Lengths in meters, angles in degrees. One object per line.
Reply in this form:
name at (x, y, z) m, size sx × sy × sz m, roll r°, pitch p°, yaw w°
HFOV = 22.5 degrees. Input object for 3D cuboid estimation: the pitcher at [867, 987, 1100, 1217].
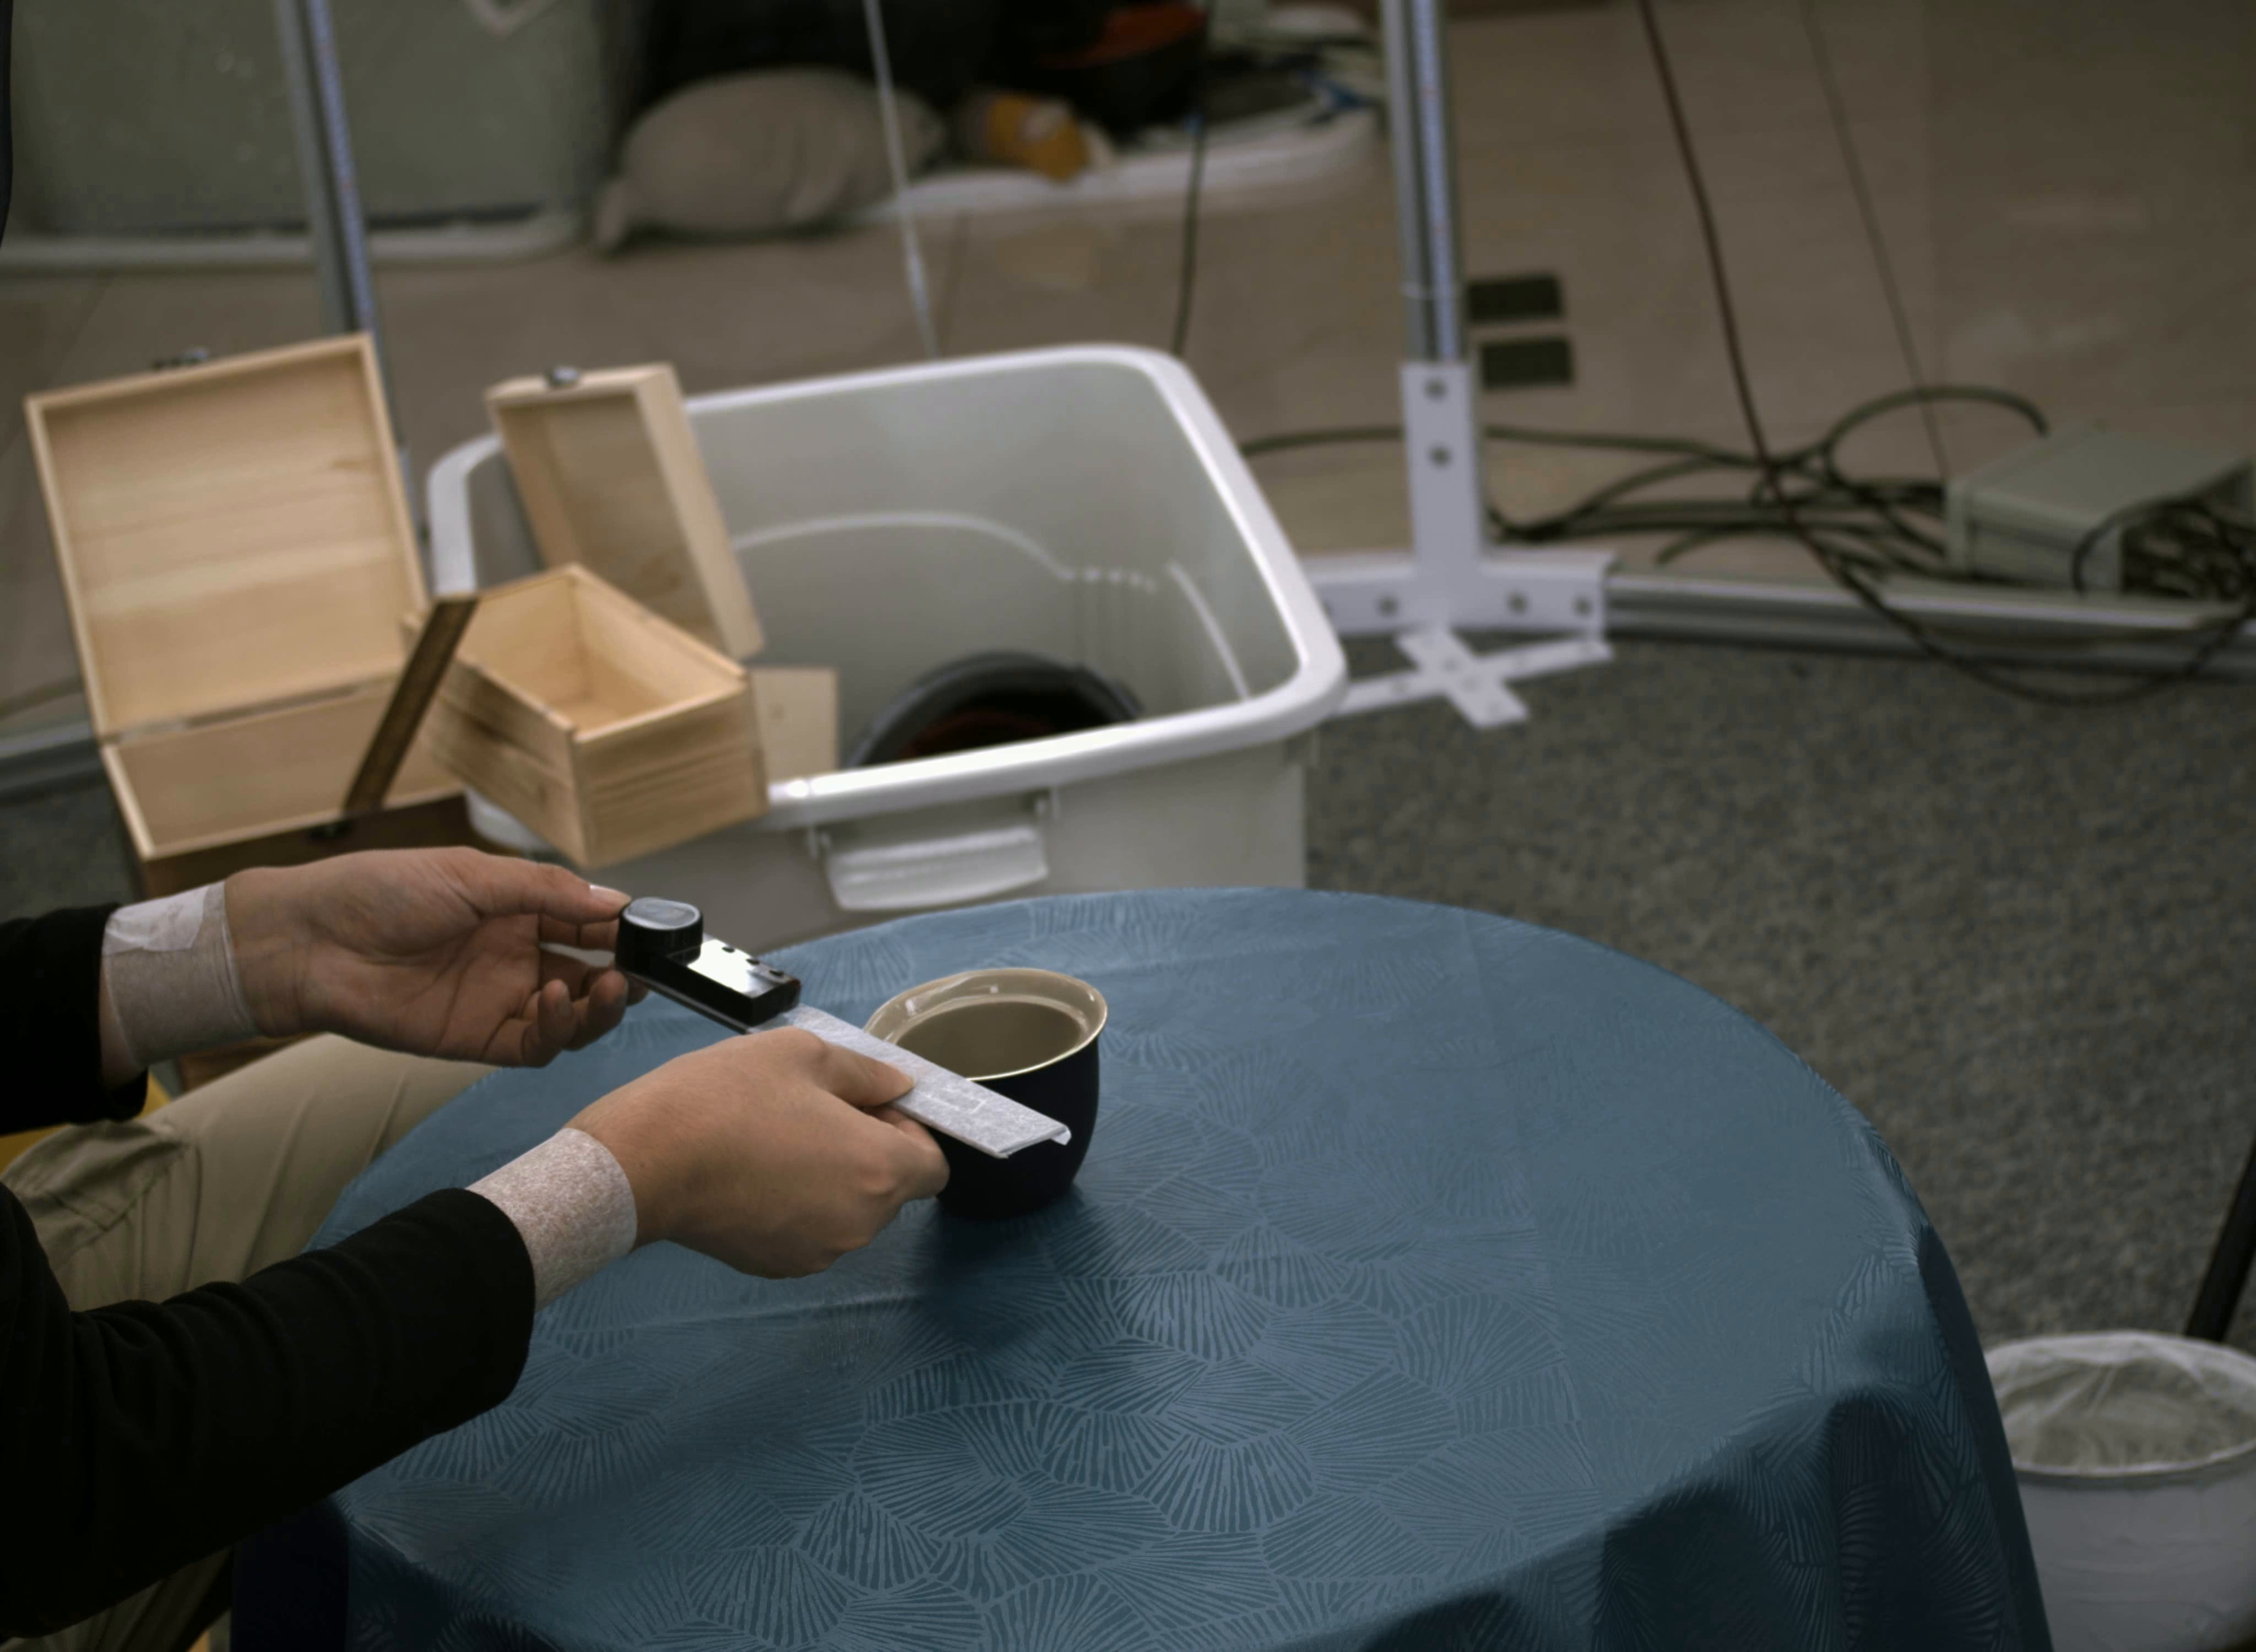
pitcher at (-0.056, 0.106, 2.145) m, size 0.096 × 0.072 × 0.082 m, roll -6°, pitch 26°, yaw -2°

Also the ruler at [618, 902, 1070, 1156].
ruler at (-0.111, 0.072, 2.101) m, size 0.216 × 0.024 × 0.038 m, roll 22°, pitch 36°, yaw 38°
